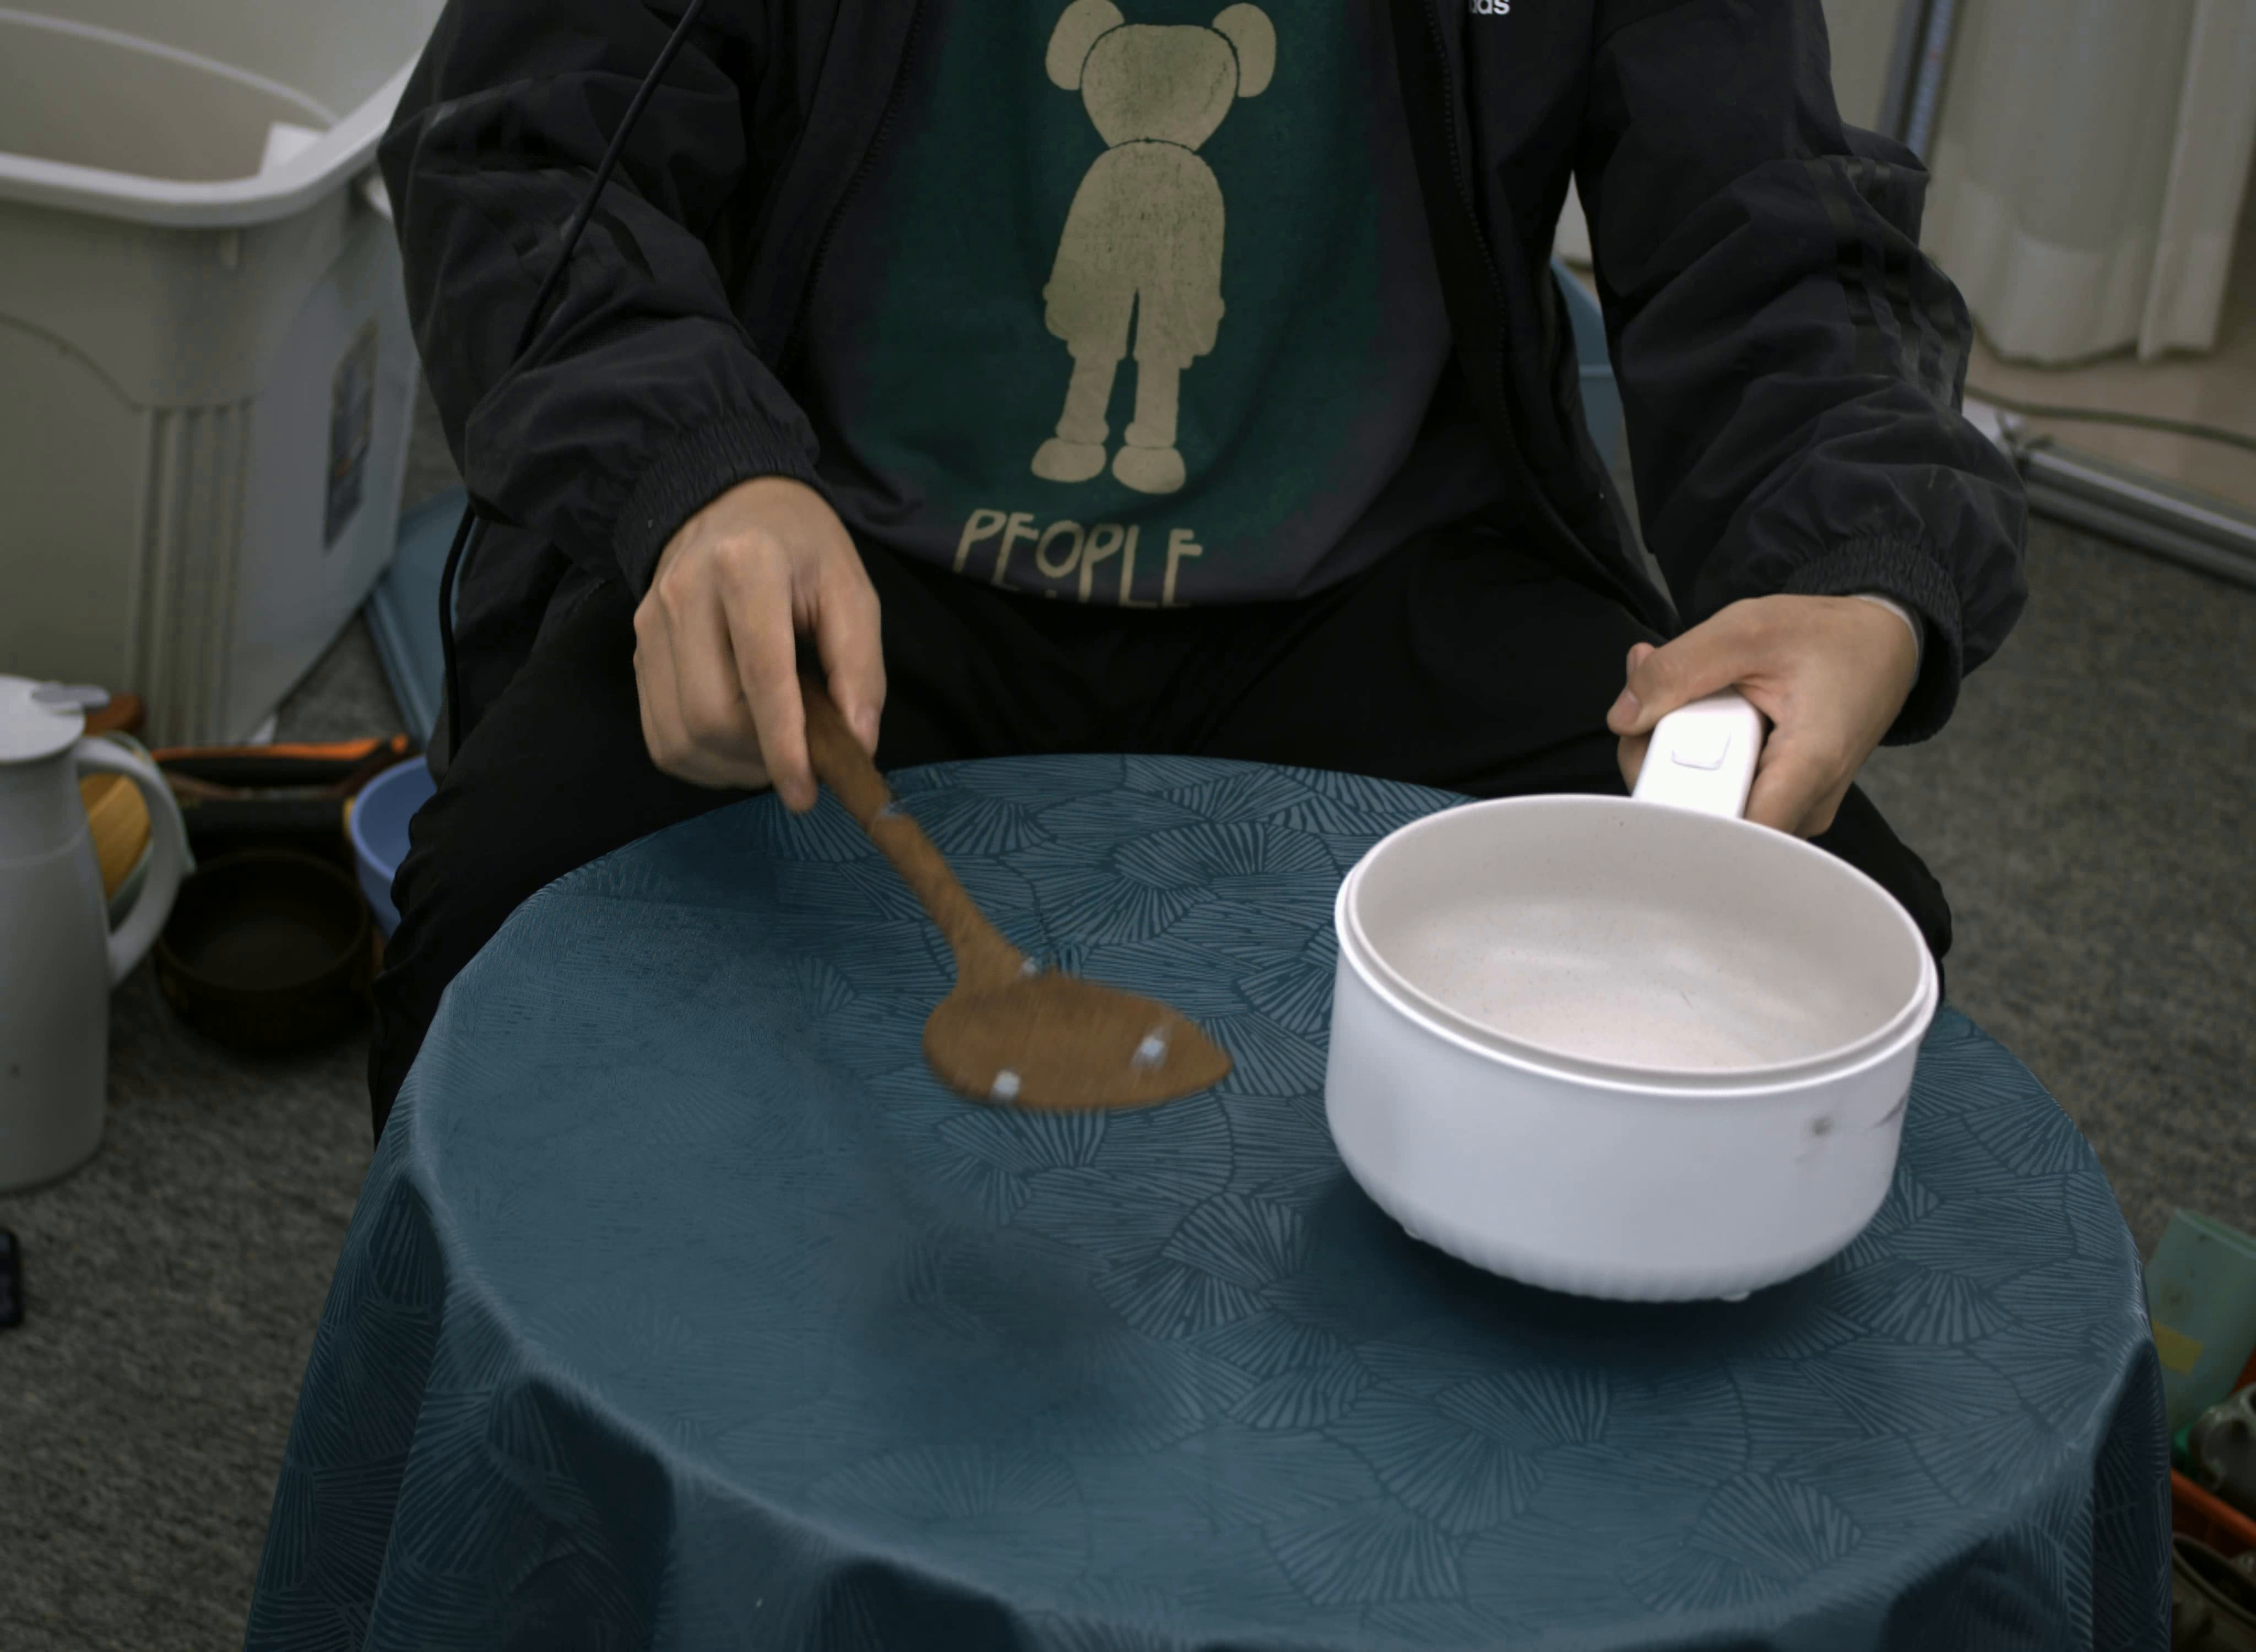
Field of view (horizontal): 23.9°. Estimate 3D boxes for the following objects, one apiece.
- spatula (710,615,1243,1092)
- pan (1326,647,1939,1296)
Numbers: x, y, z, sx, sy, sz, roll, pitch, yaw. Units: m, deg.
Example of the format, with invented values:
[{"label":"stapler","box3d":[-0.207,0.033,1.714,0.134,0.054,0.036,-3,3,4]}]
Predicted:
[{"label":"spatula","box3d":[-0.074,0.002,1.831,0.095,0.016,0.389,-6,27,-22]},{"label":"pan","box3d":[0.183,0.046,1.852,0.201,0.102,0.355,9,25,11]}]
